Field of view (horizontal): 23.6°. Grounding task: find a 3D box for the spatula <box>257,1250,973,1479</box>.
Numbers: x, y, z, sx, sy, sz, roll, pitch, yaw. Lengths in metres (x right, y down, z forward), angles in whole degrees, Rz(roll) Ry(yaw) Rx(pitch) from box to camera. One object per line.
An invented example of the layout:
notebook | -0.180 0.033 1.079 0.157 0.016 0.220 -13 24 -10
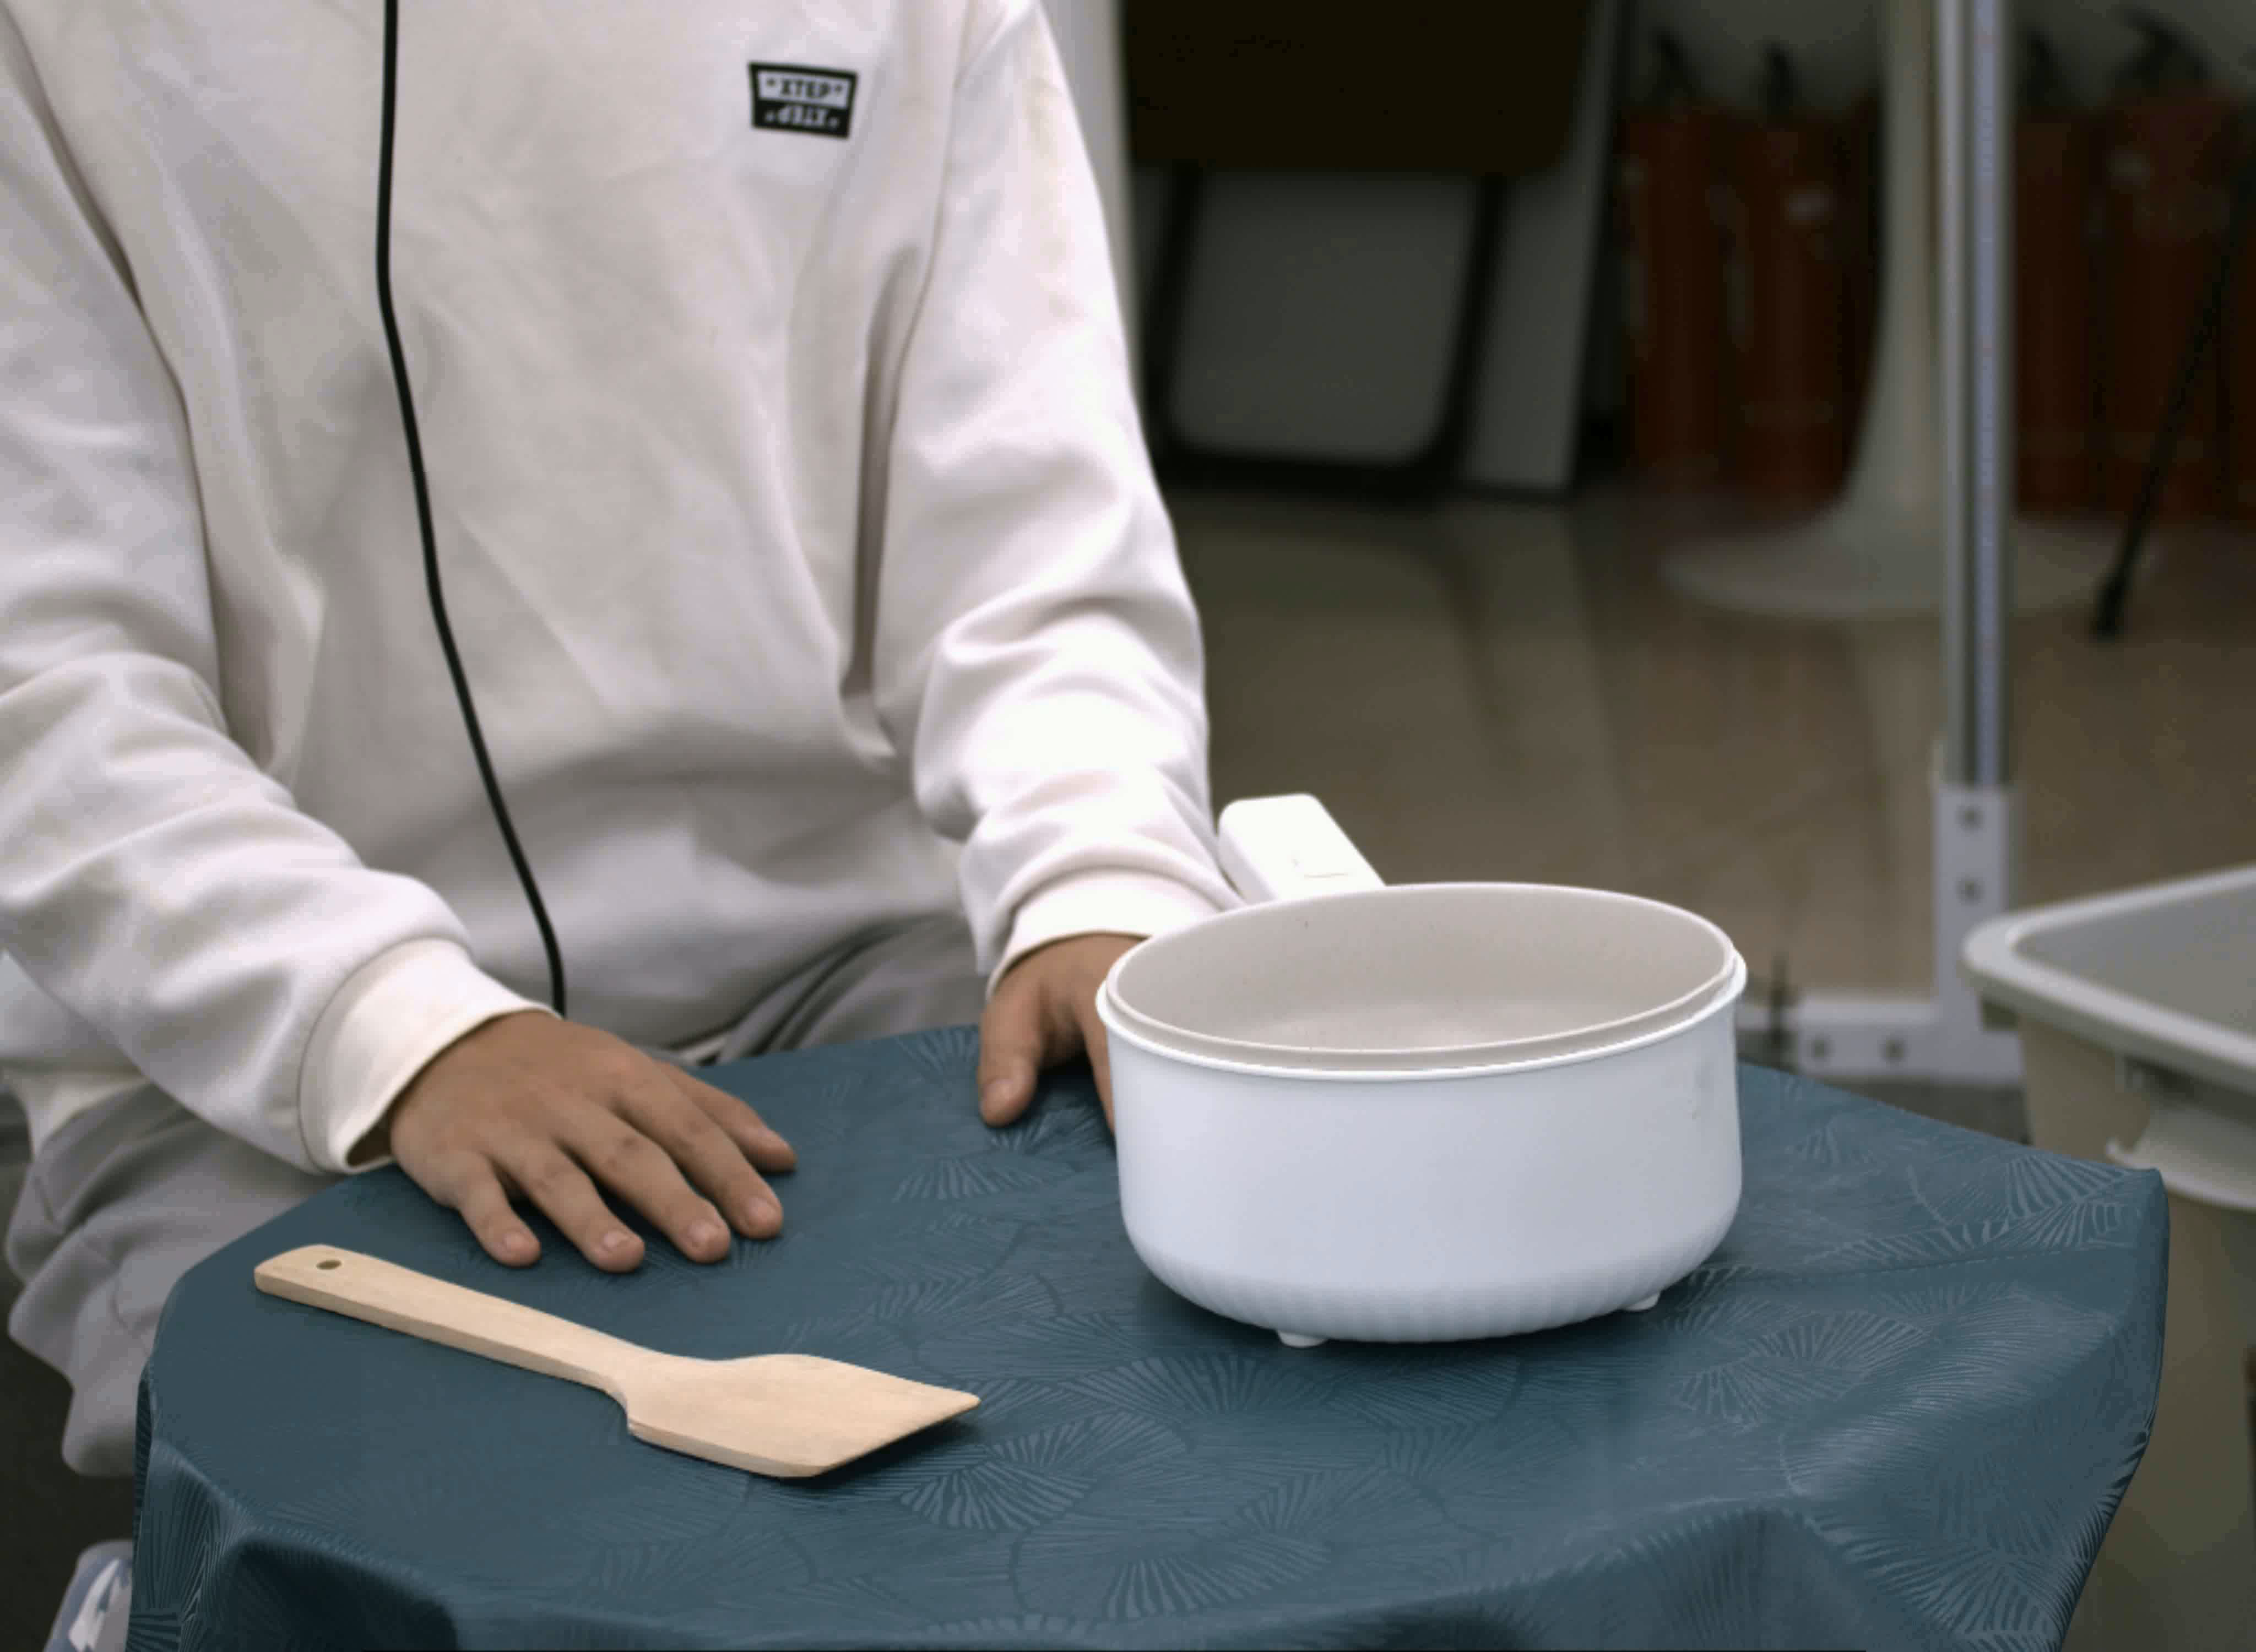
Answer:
spatula | -0.170 0.160 1.642 0.296 0.011 0.071 9 20 44

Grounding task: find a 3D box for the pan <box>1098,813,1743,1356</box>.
pan | 0.081 0.077 1.736 0.198 0.103 0.356 -7 12 -8
